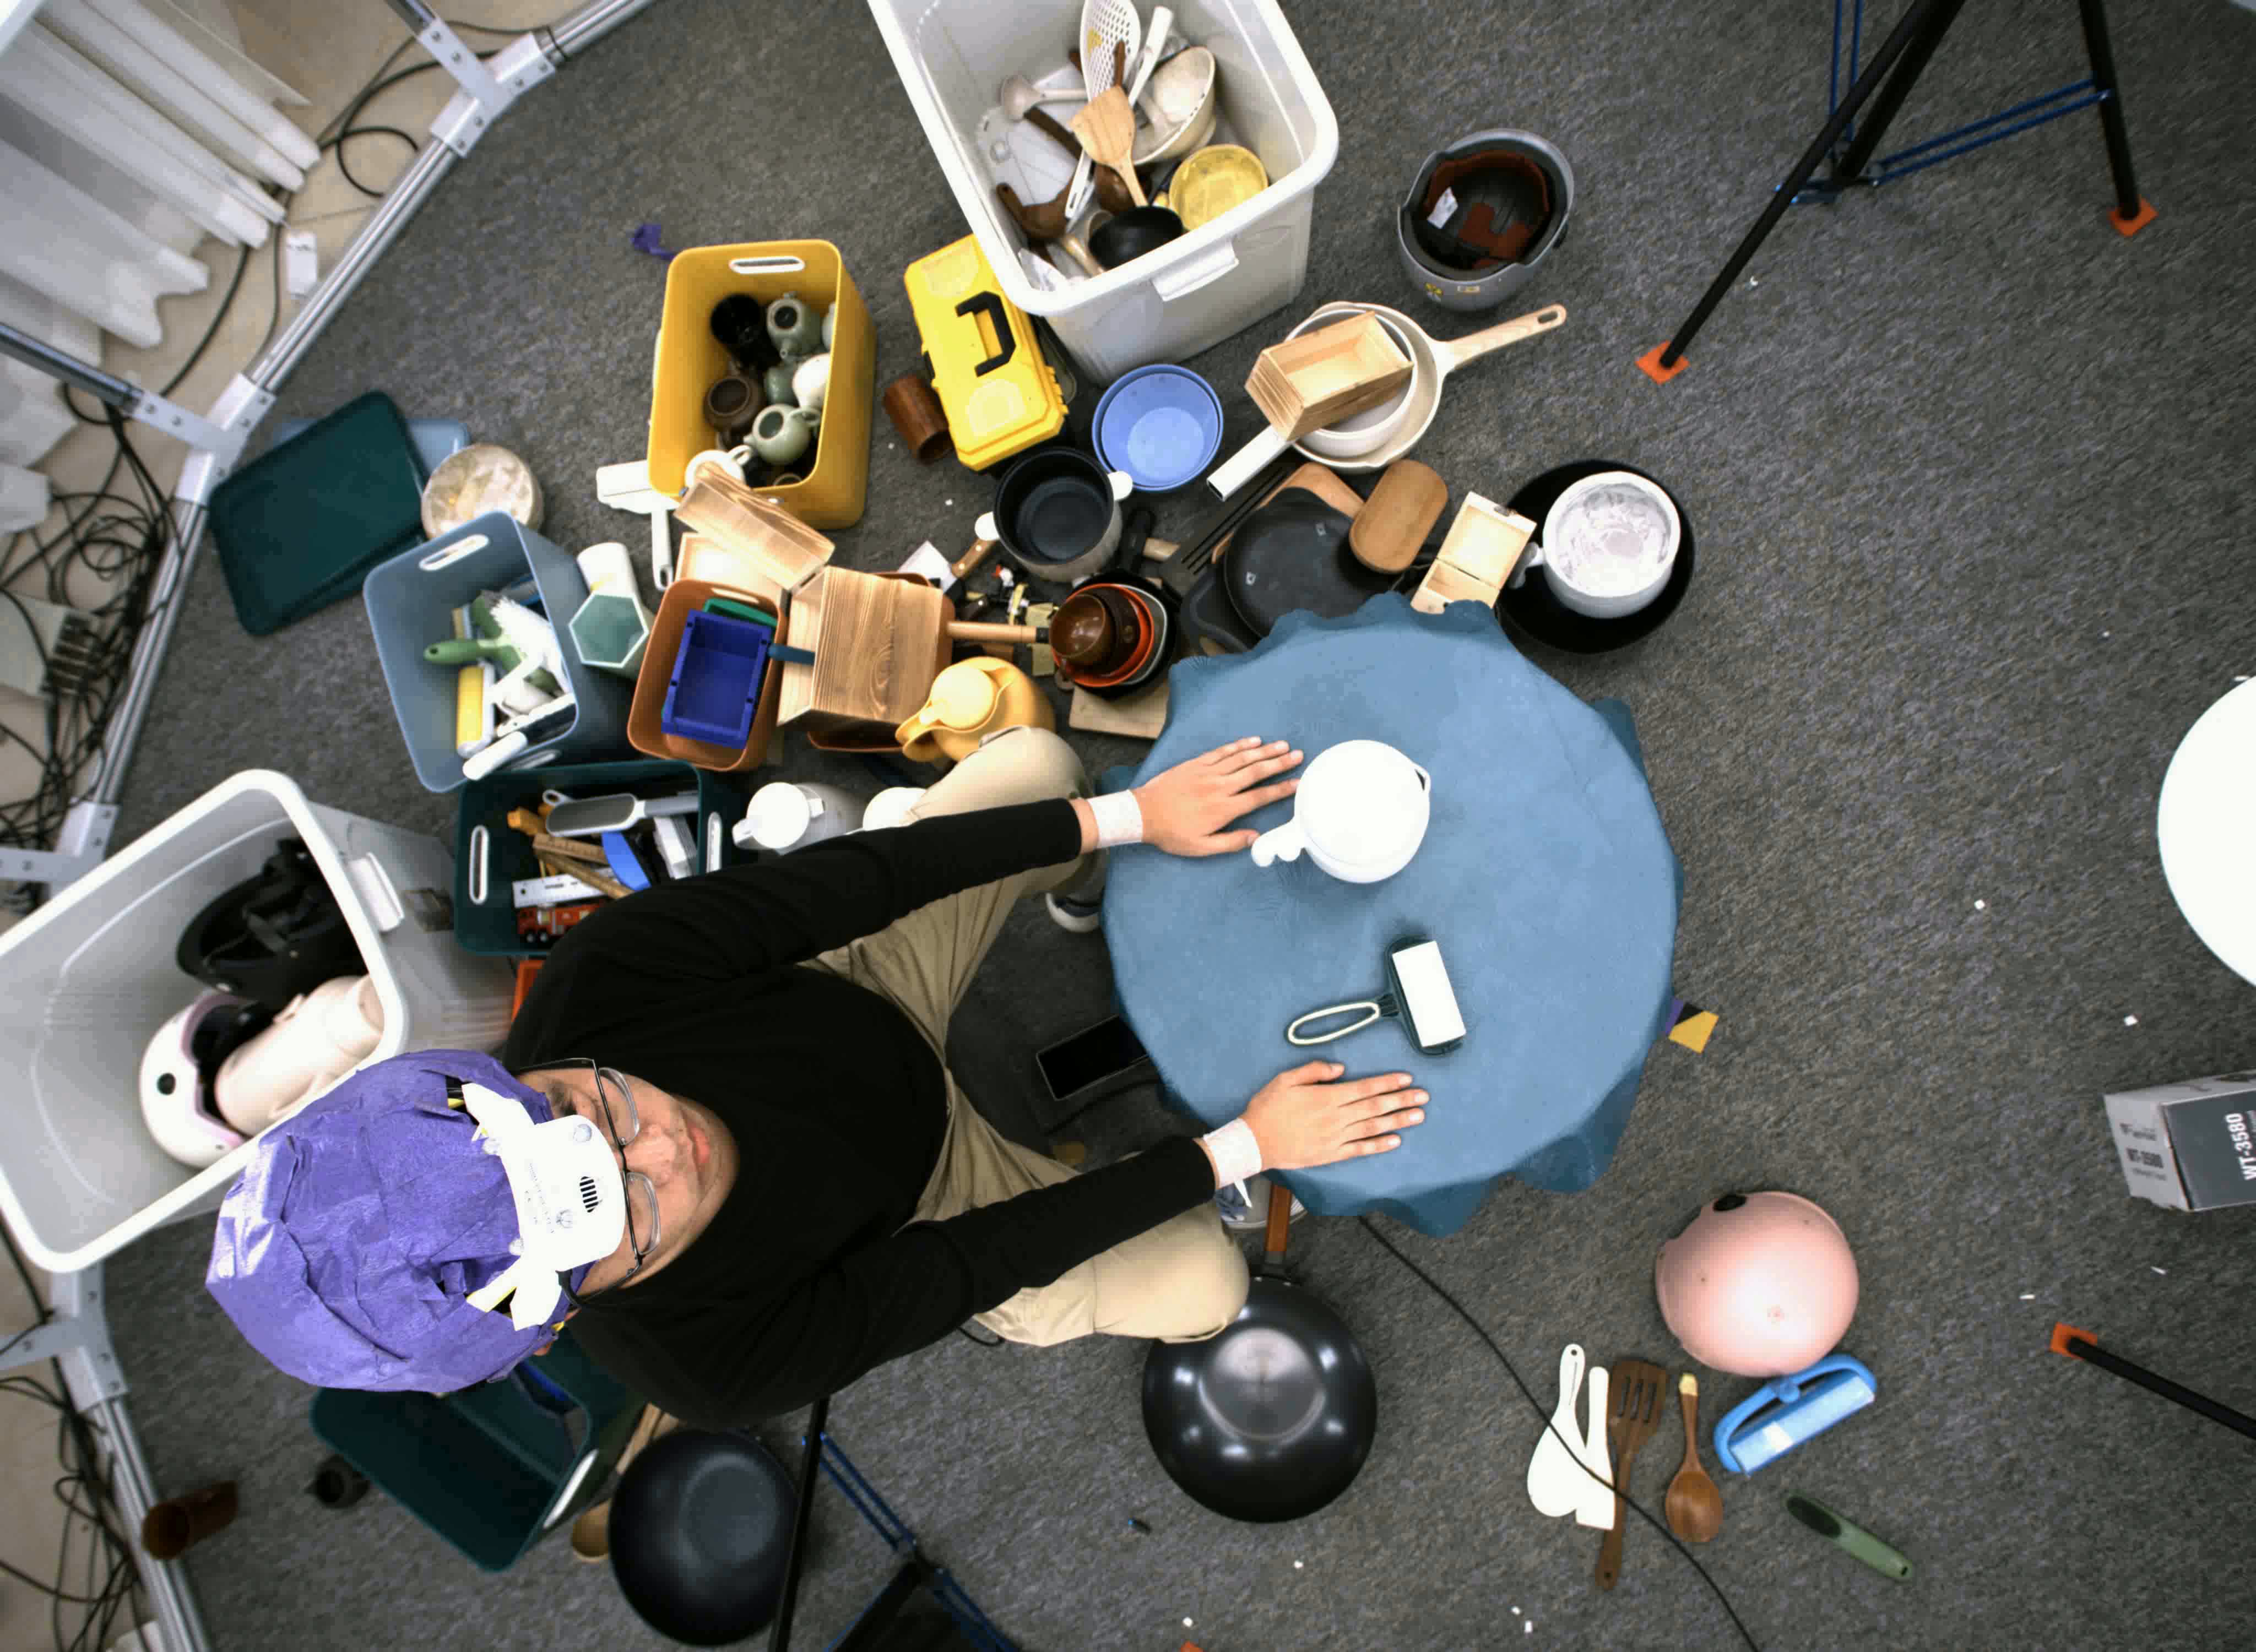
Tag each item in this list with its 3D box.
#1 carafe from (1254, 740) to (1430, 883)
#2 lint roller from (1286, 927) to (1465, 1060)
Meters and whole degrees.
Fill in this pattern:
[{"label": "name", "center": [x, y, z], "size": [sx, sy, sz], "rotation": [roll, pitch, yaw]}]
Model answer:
[{"label": "carafe", "center": [0.212, -0.004, 1.388], "size": [0.192, 0.182, 0.131], "rotation": [-25, 81, 10]}, {"label": "lint roller", "center": [0.247, 0.193, 1.437], "size": [0.181, 0.048, 0.133], "rotation": [-19, 83, 12]}]
